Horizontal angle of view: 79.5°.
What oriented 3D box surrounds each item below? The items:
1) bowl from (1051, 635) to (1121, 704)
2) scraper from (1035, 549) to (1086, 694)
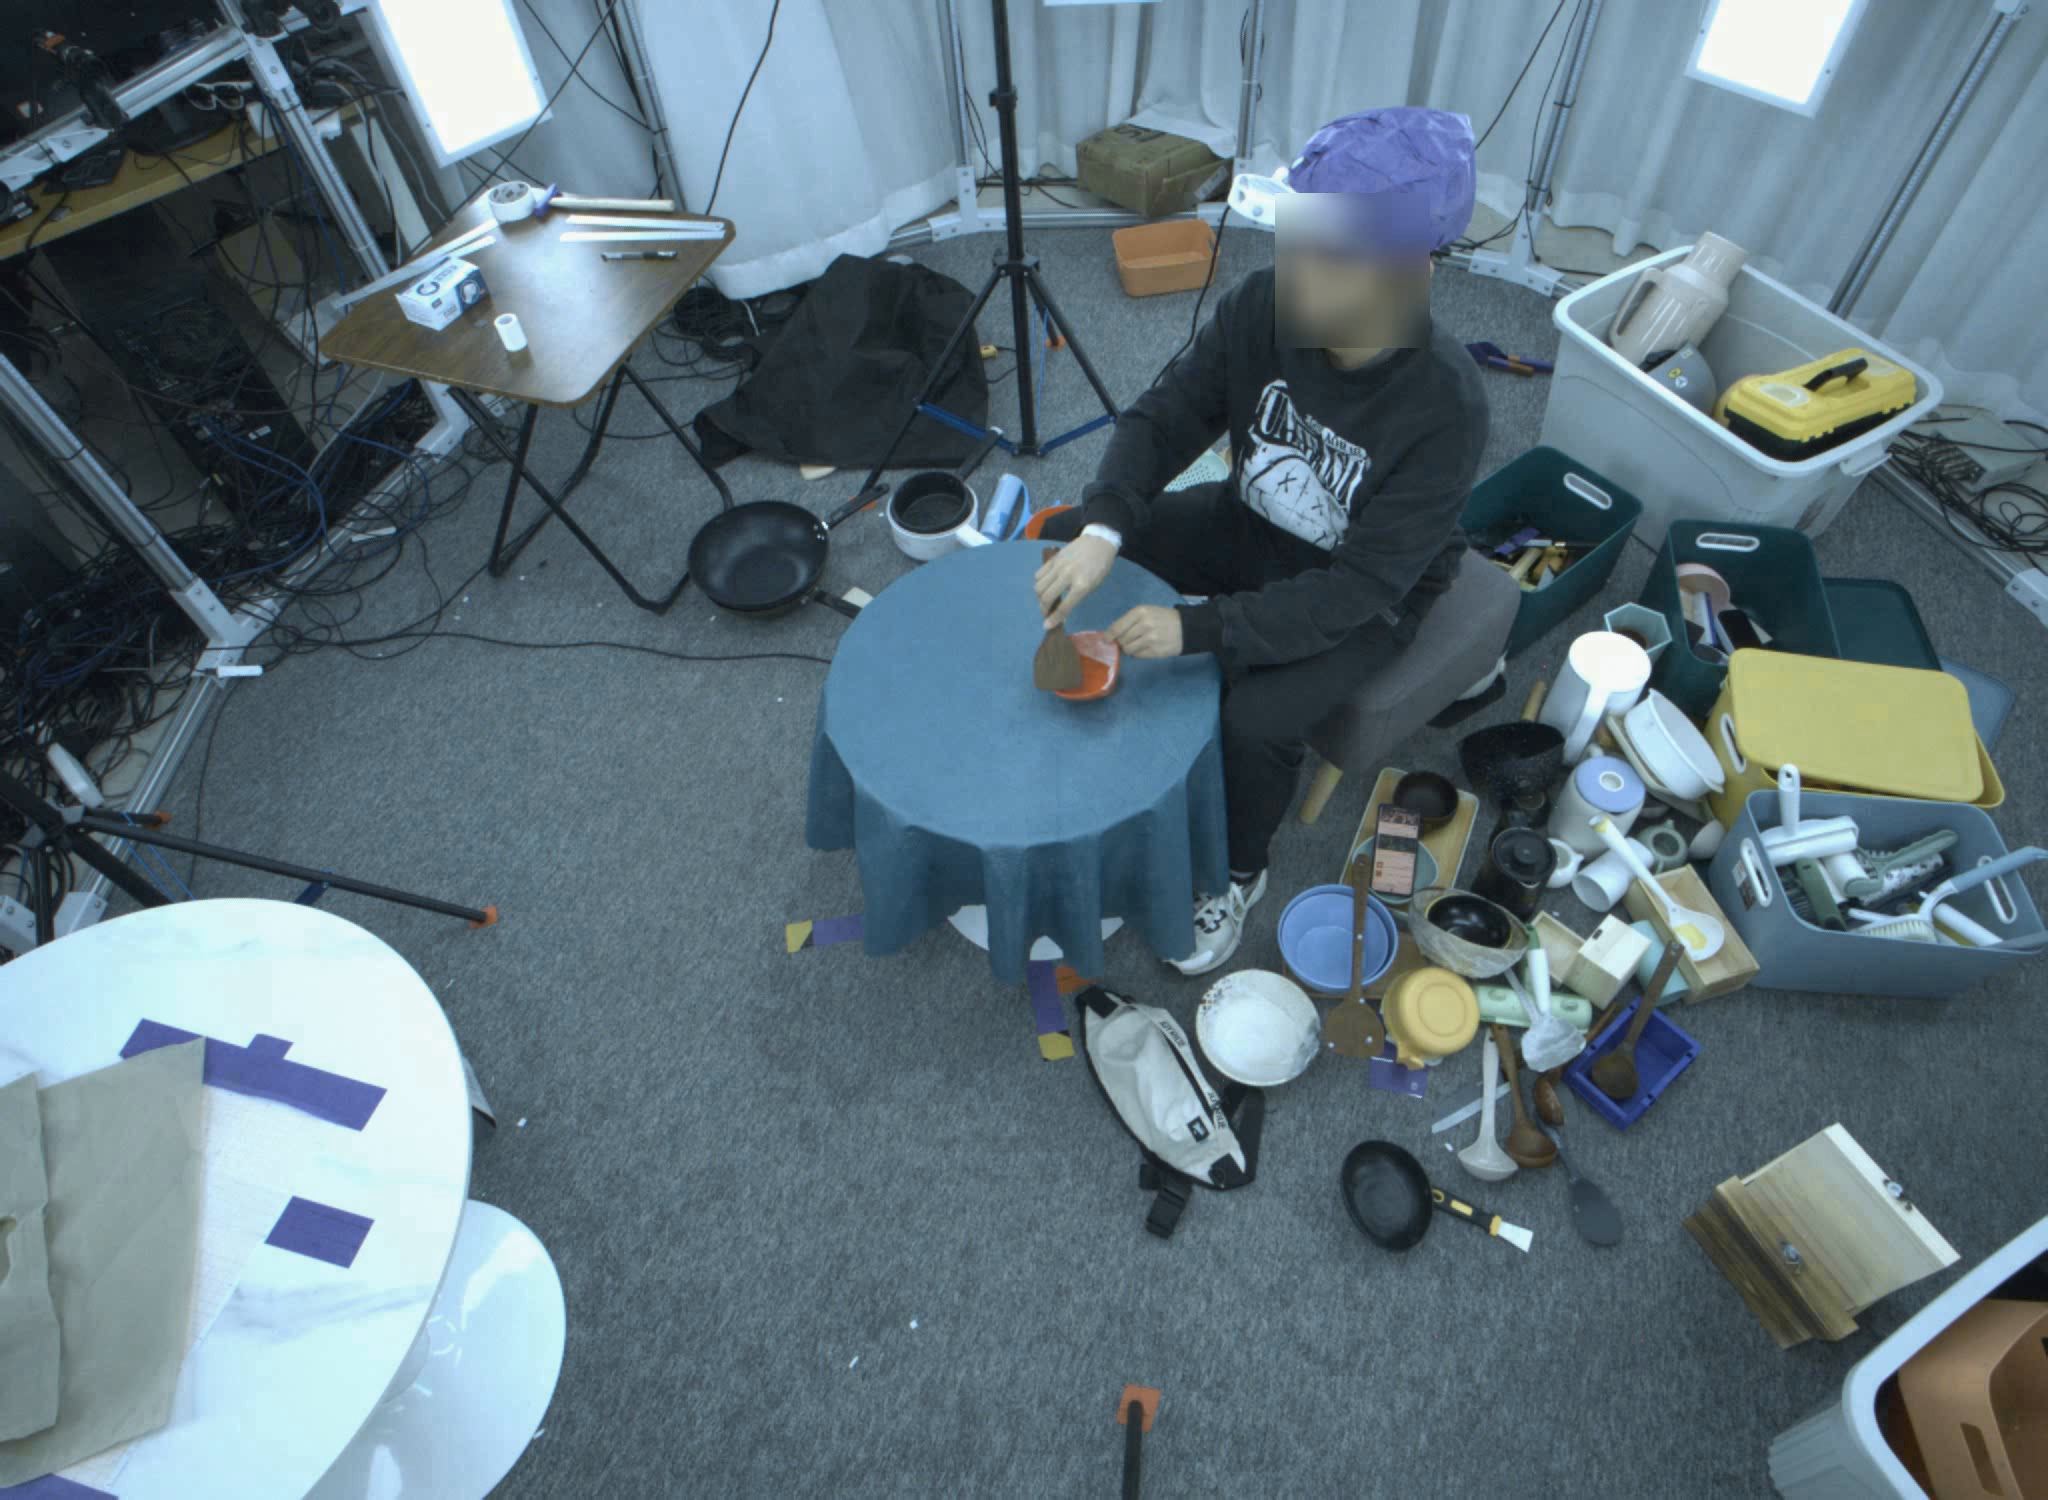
[{"bbox_3d":[0.099,-0.112,1.829,0.117,0.052,0.118,-10,62,21],"label":"bowl"},{"bbox_3d":[0.048,-0.188,1.800,0.076,0.011,0.211,-4,95,-10],"label":"scraper"}]
